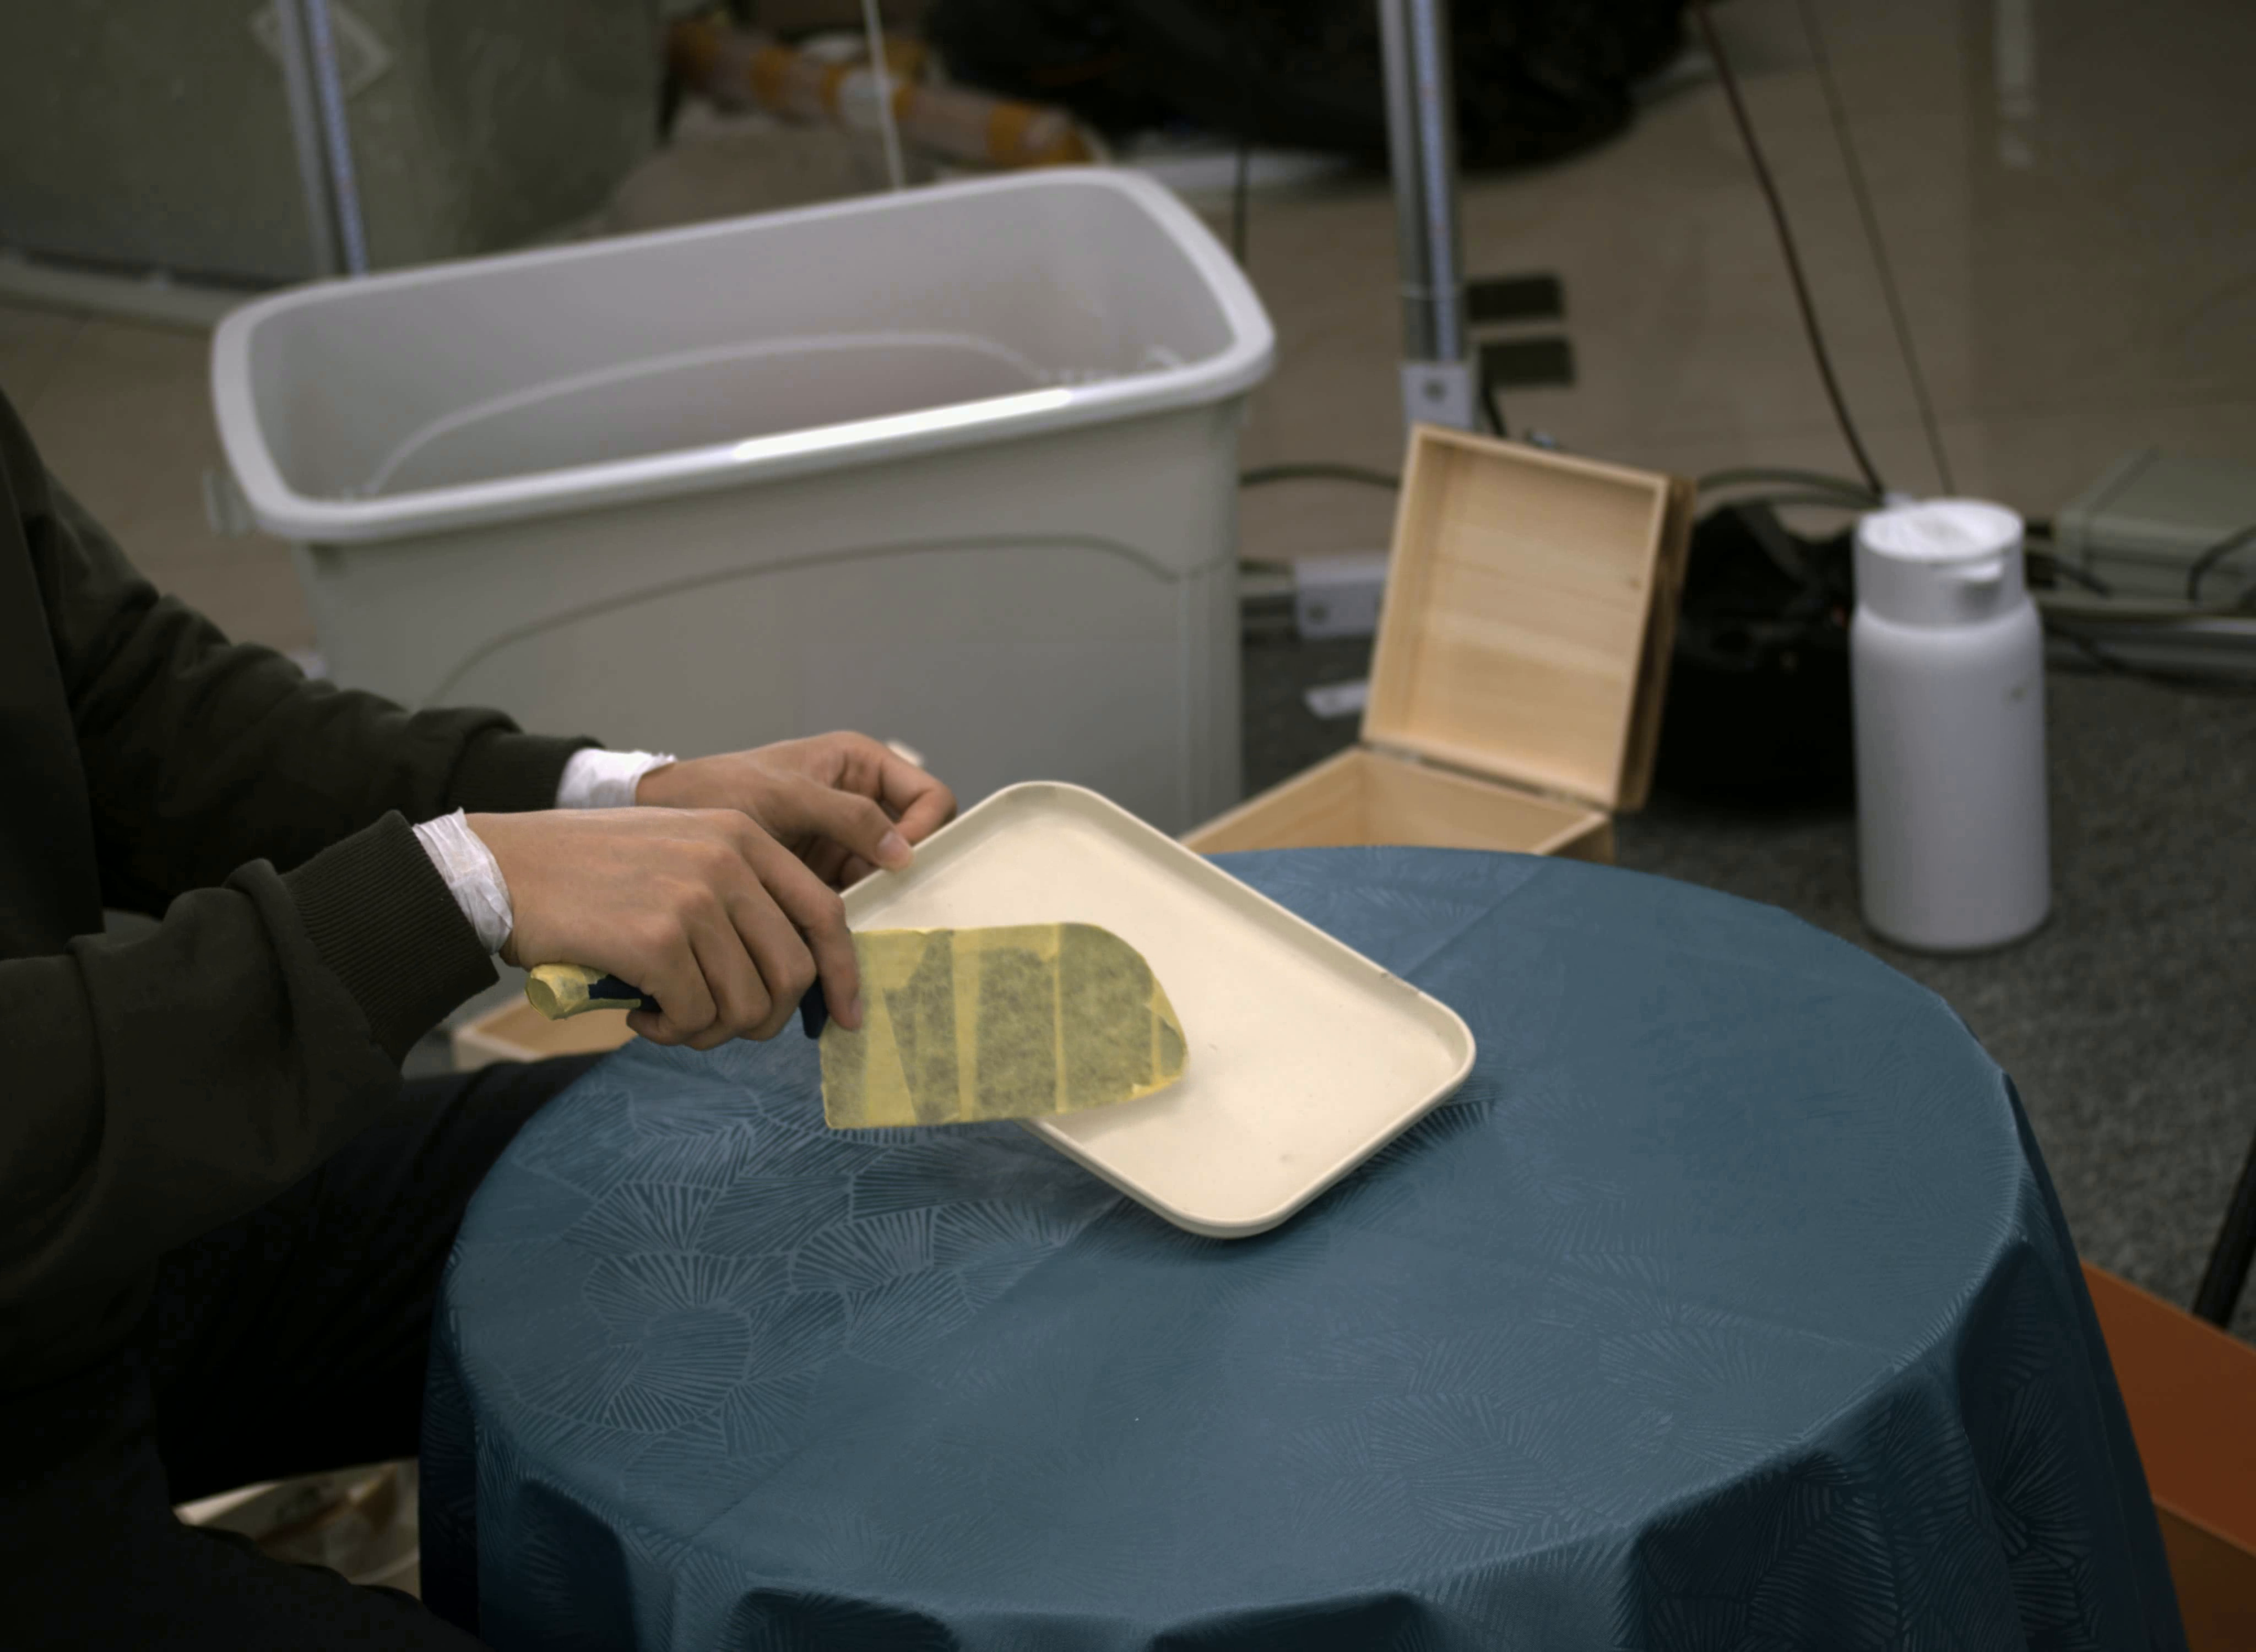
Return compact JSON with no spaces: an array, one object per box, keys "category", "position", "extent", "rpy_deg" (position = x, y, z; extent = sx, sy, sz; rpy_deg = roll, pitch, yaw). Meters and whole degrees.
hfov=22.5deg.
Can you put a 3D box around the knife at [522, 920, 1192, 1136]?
[{"category":"knife","position":[-0.093,0.073,2.077],"extent":[0.289,0.081,0.027],"rpy_deg":[2,-3,-35]}]

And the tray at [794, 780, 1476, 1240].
[{"category":"tray","position":[0.002,0.070,2.194],"extent":[0.237,0.018,0.169],"rpy_deg":[32,45,26]}]
